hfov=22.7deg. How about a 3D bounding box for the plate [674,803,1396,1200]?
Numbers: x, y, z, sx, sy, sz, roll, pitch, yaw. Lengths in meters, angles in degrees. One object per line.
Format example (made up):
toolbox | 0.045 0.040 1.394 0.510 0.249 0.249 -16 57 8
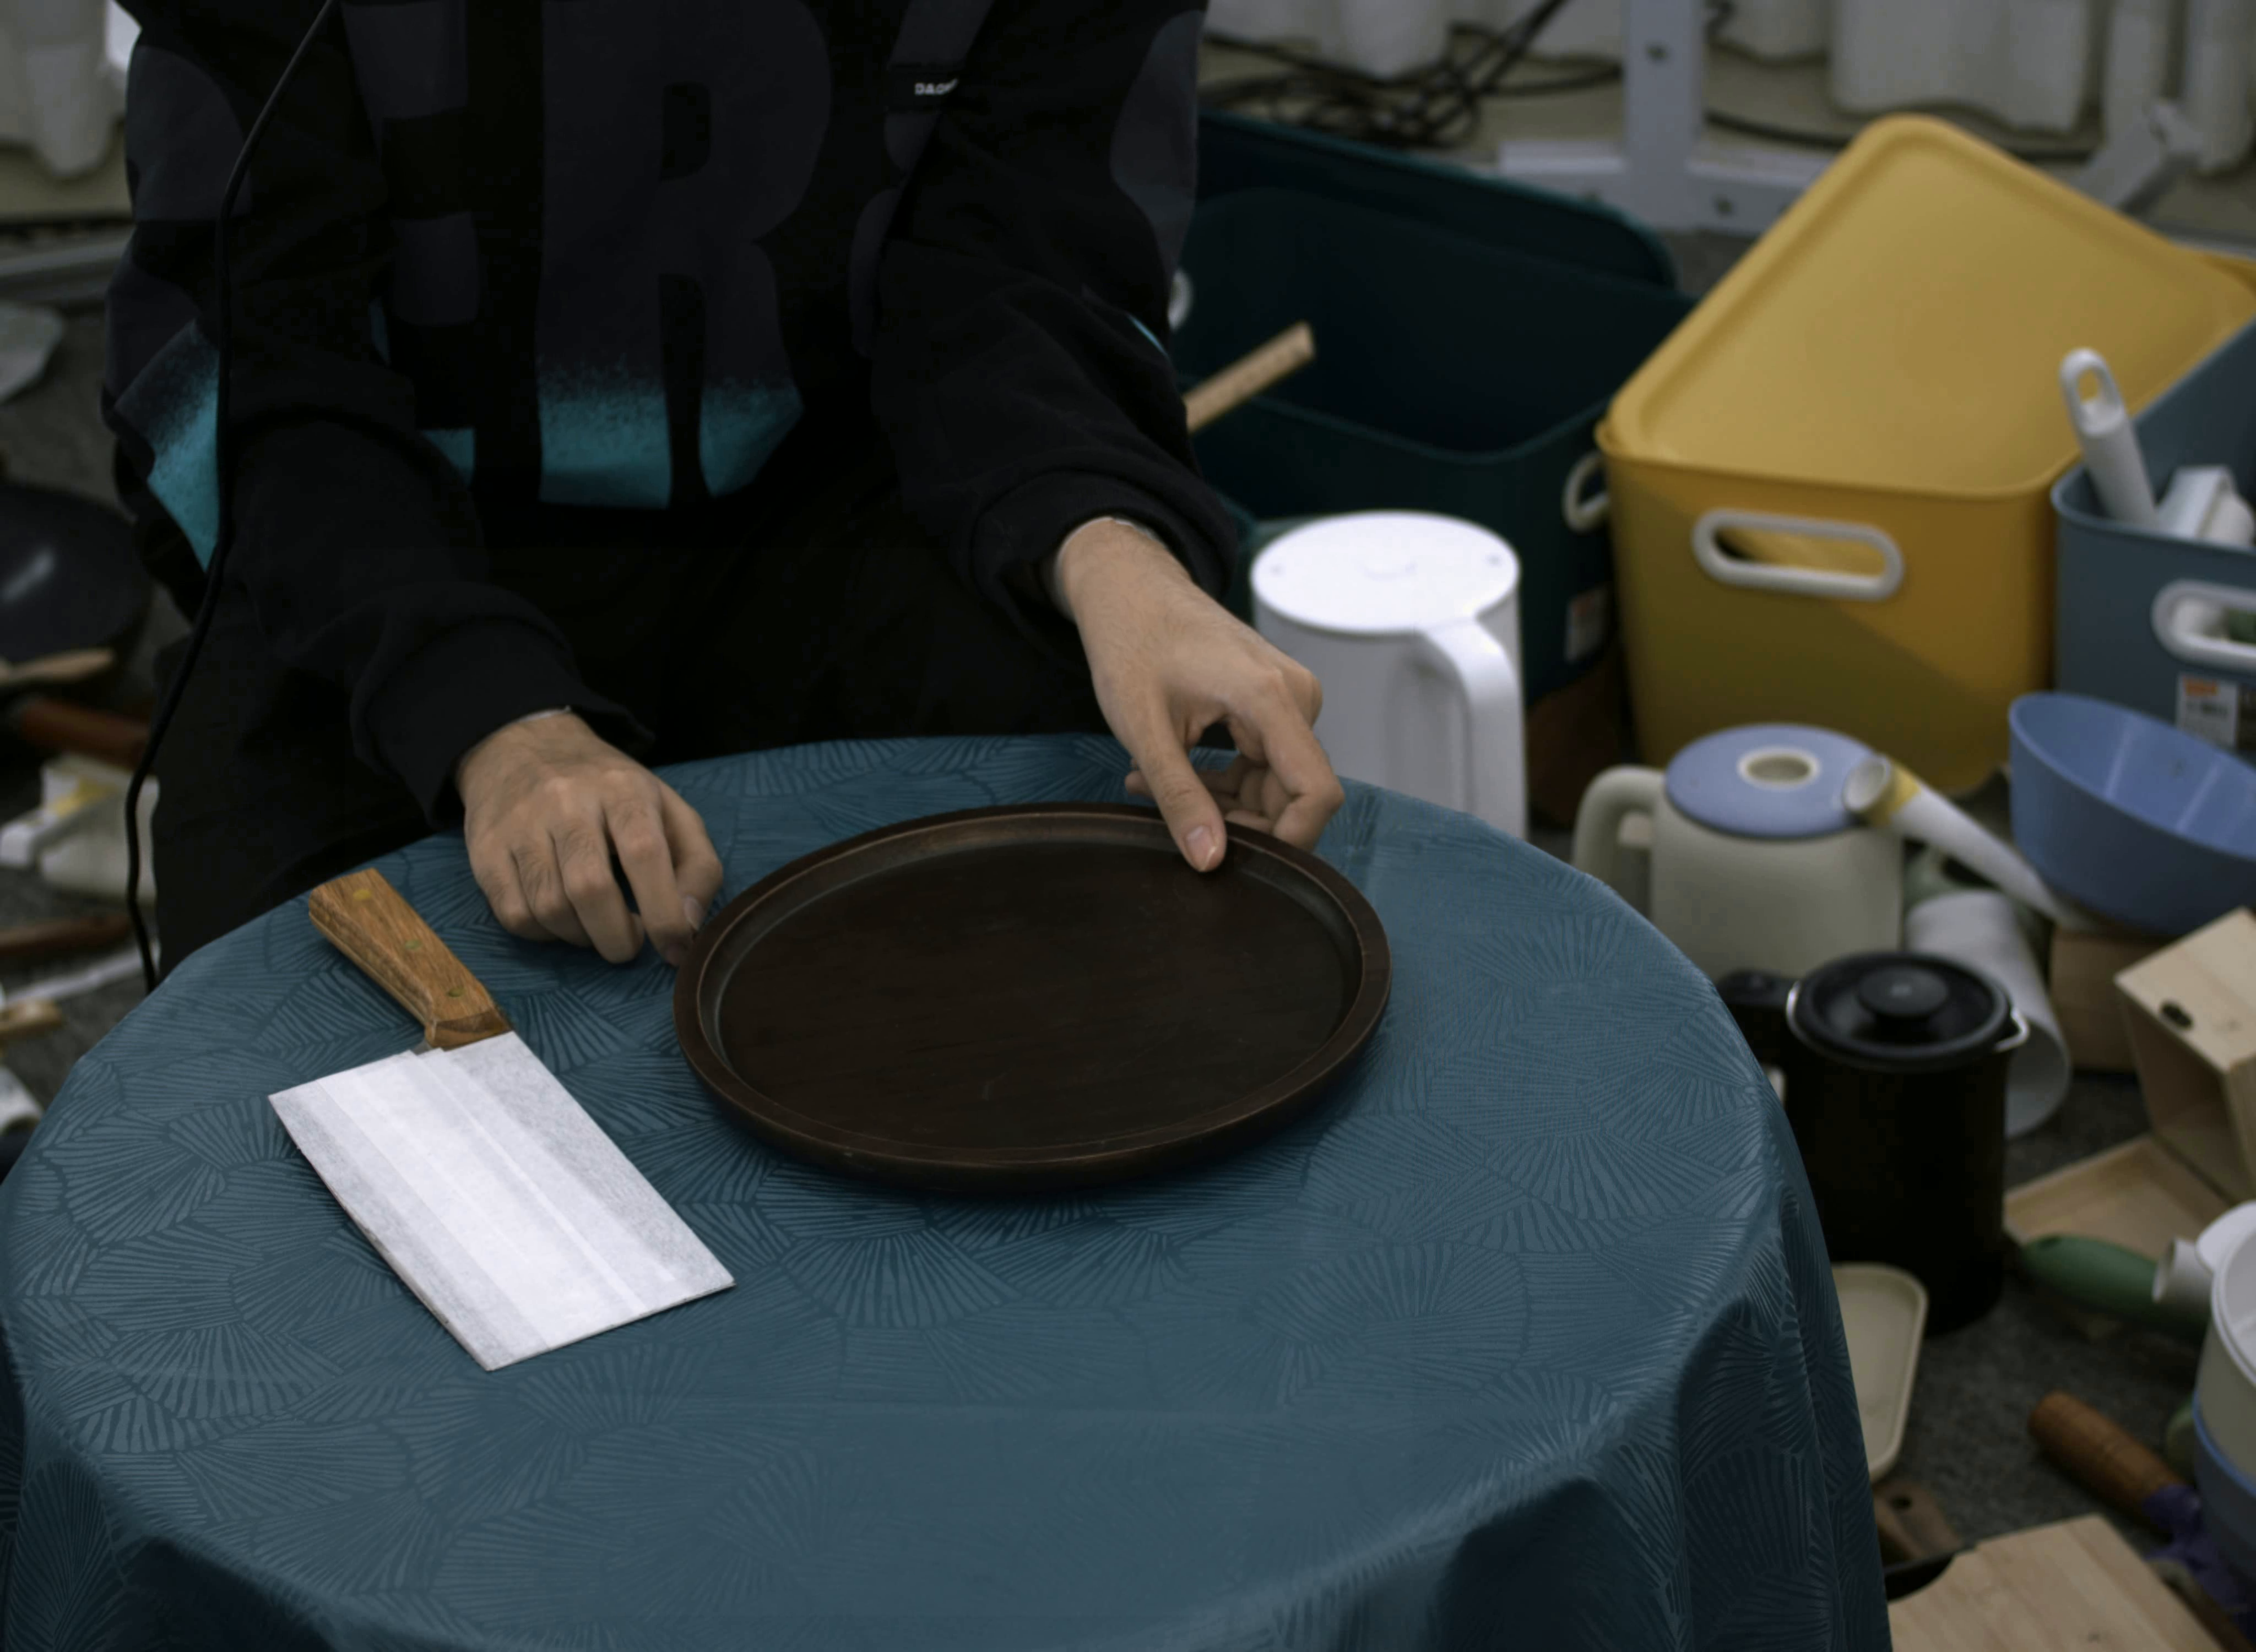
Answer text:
plate | -0.032 0.059 1.958 0.253 0.029 0.258 -1 27 1

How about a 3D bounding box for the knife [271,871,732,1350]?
knife | -0.238 0.097 1.917 0.093 0.021 0.307 -18 33 -23
